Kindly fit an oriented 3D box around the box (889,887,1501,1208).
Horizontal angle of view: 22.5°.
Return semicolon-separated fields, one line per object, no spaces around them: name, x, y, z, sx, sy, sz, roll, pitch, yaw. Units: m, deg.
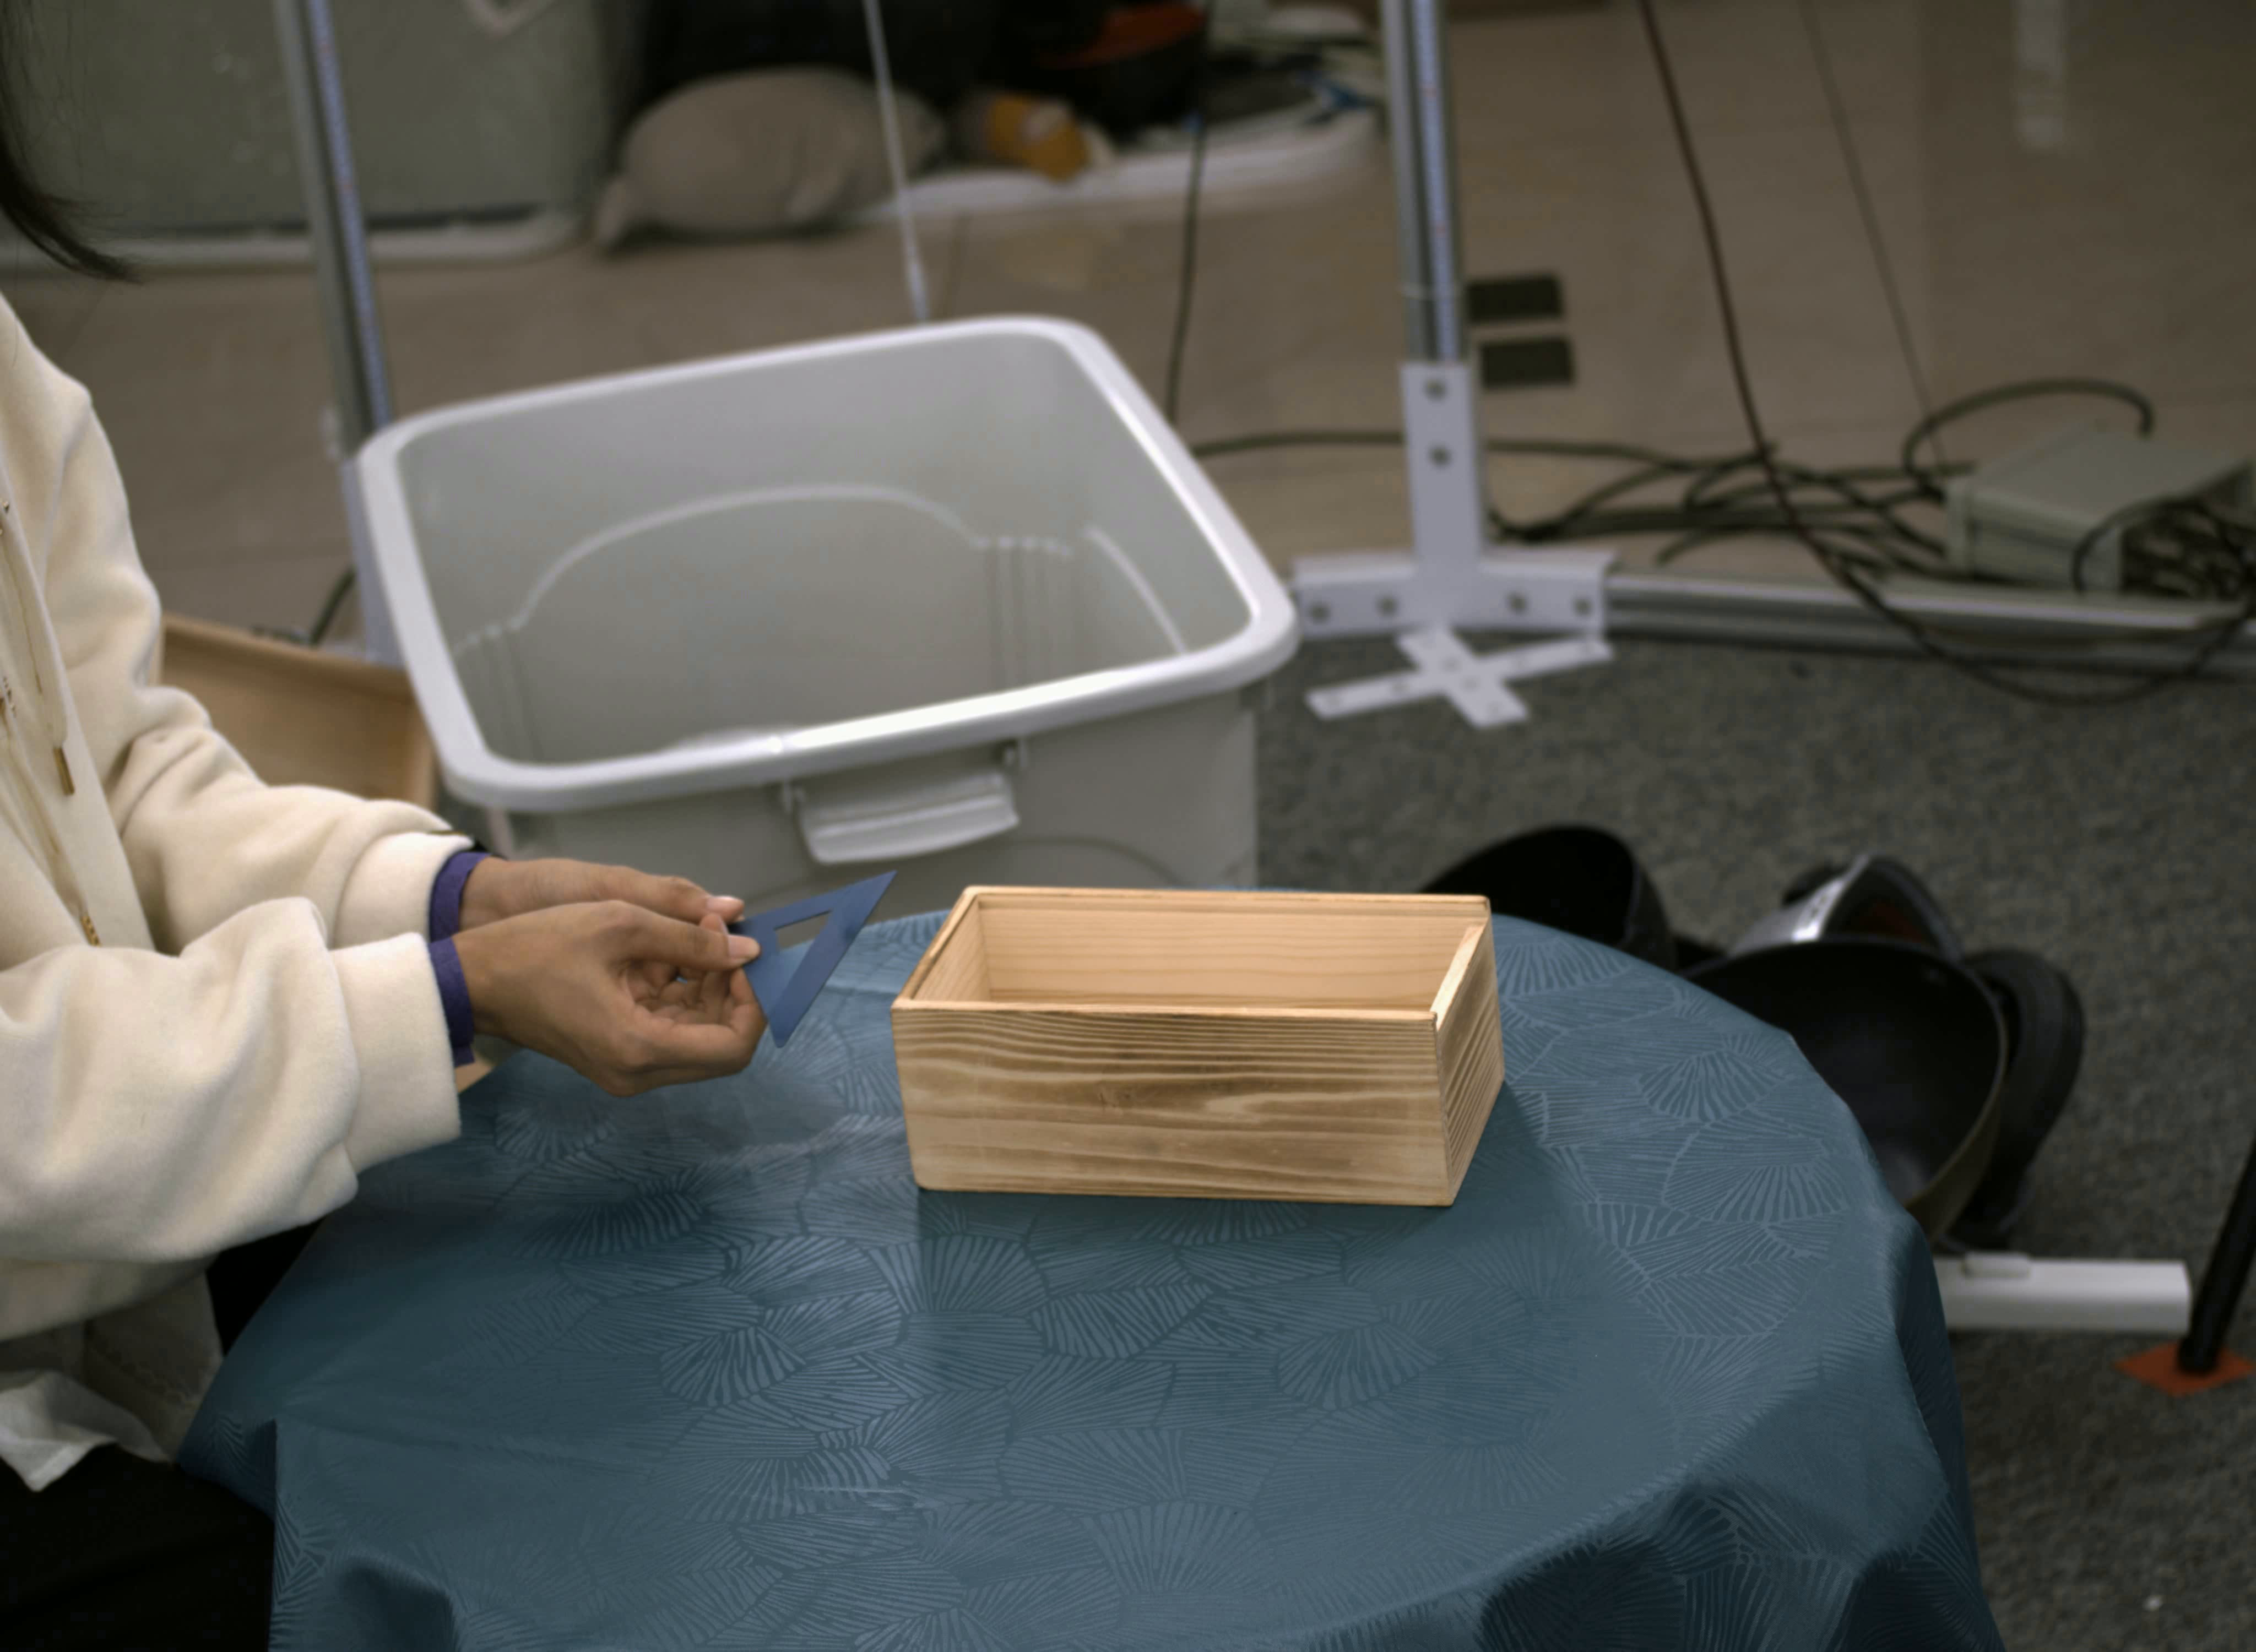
box;0.027;0.083;2.166;0.211;0.081;0.106;1;26;15

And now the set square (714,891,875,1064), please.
set square;-0.146;0.056;2.164;0.061;0.006;0.130;-1;29;24
